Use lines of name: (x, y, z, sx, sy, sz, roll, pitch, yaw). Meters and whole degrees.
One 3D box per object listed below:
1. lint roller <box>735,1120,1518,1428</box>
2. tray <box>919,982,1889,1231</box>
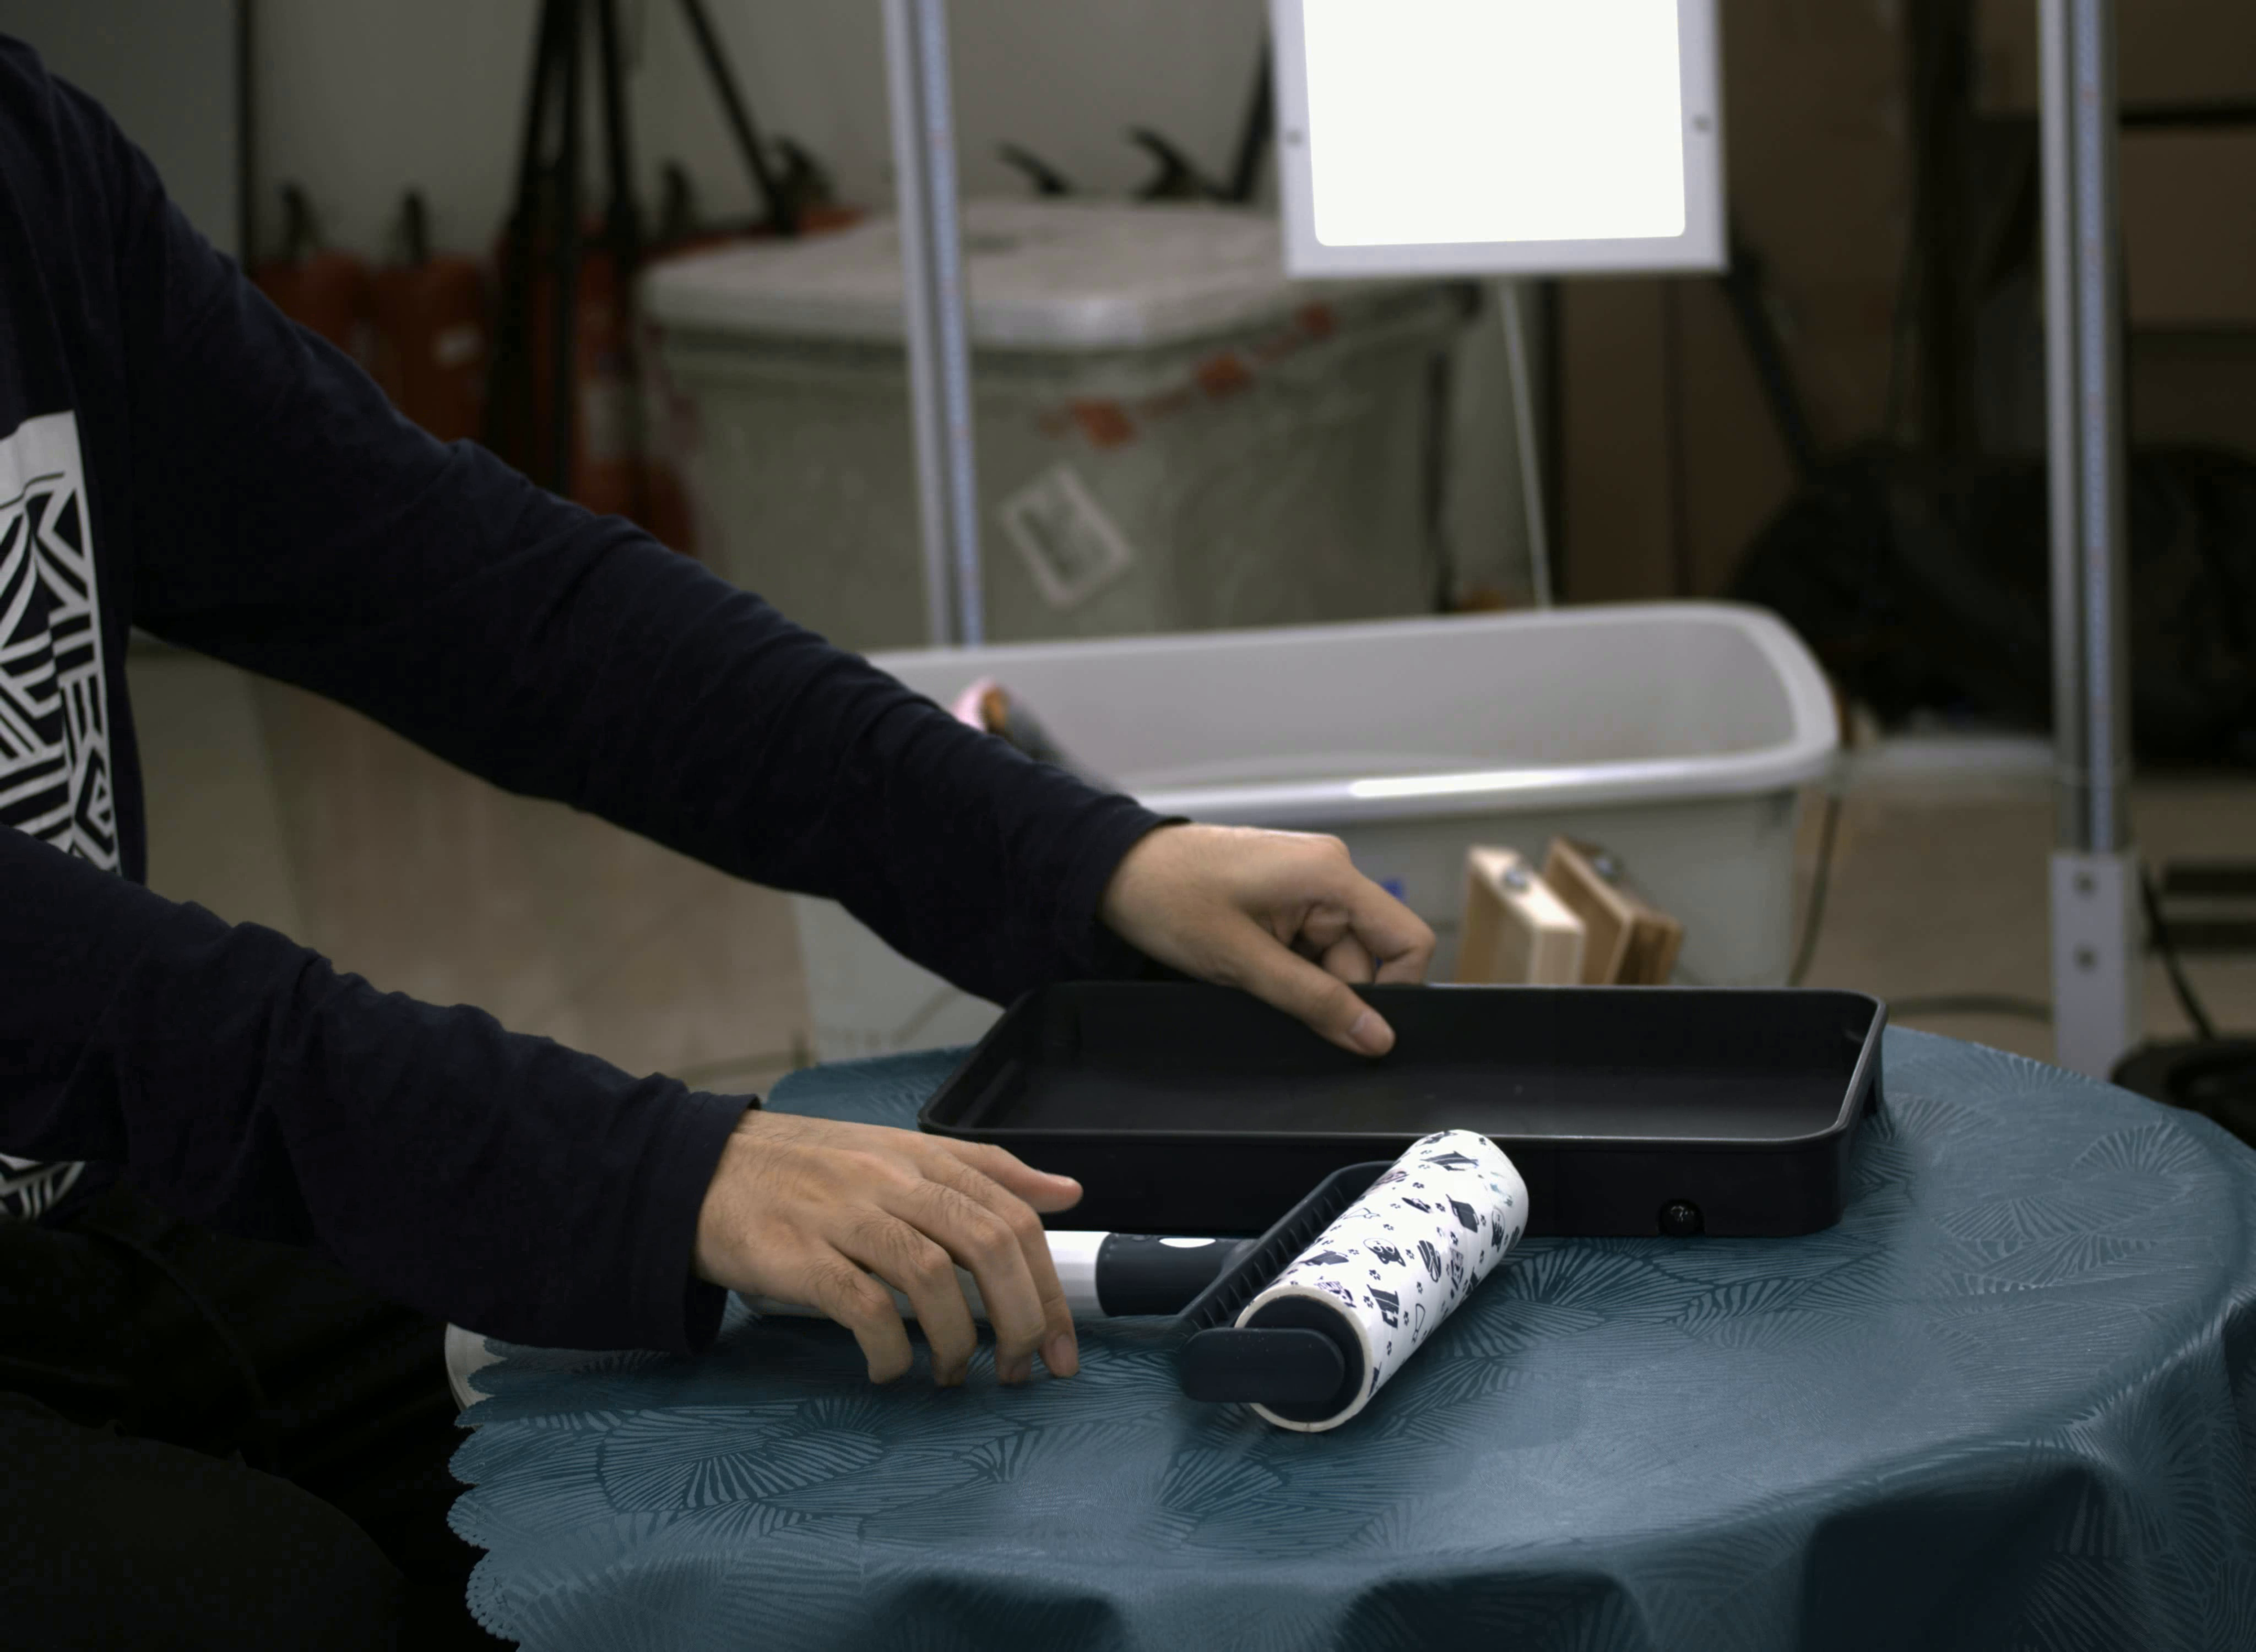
lint roller: (-0.015, 0.143, 1.757, 0.251, 0.050, 0.173, -3, 14, 23)
tray: (0.099, 0.095, 1.908, 0.321, 0.037, 0.181, -1, 14, 16)
